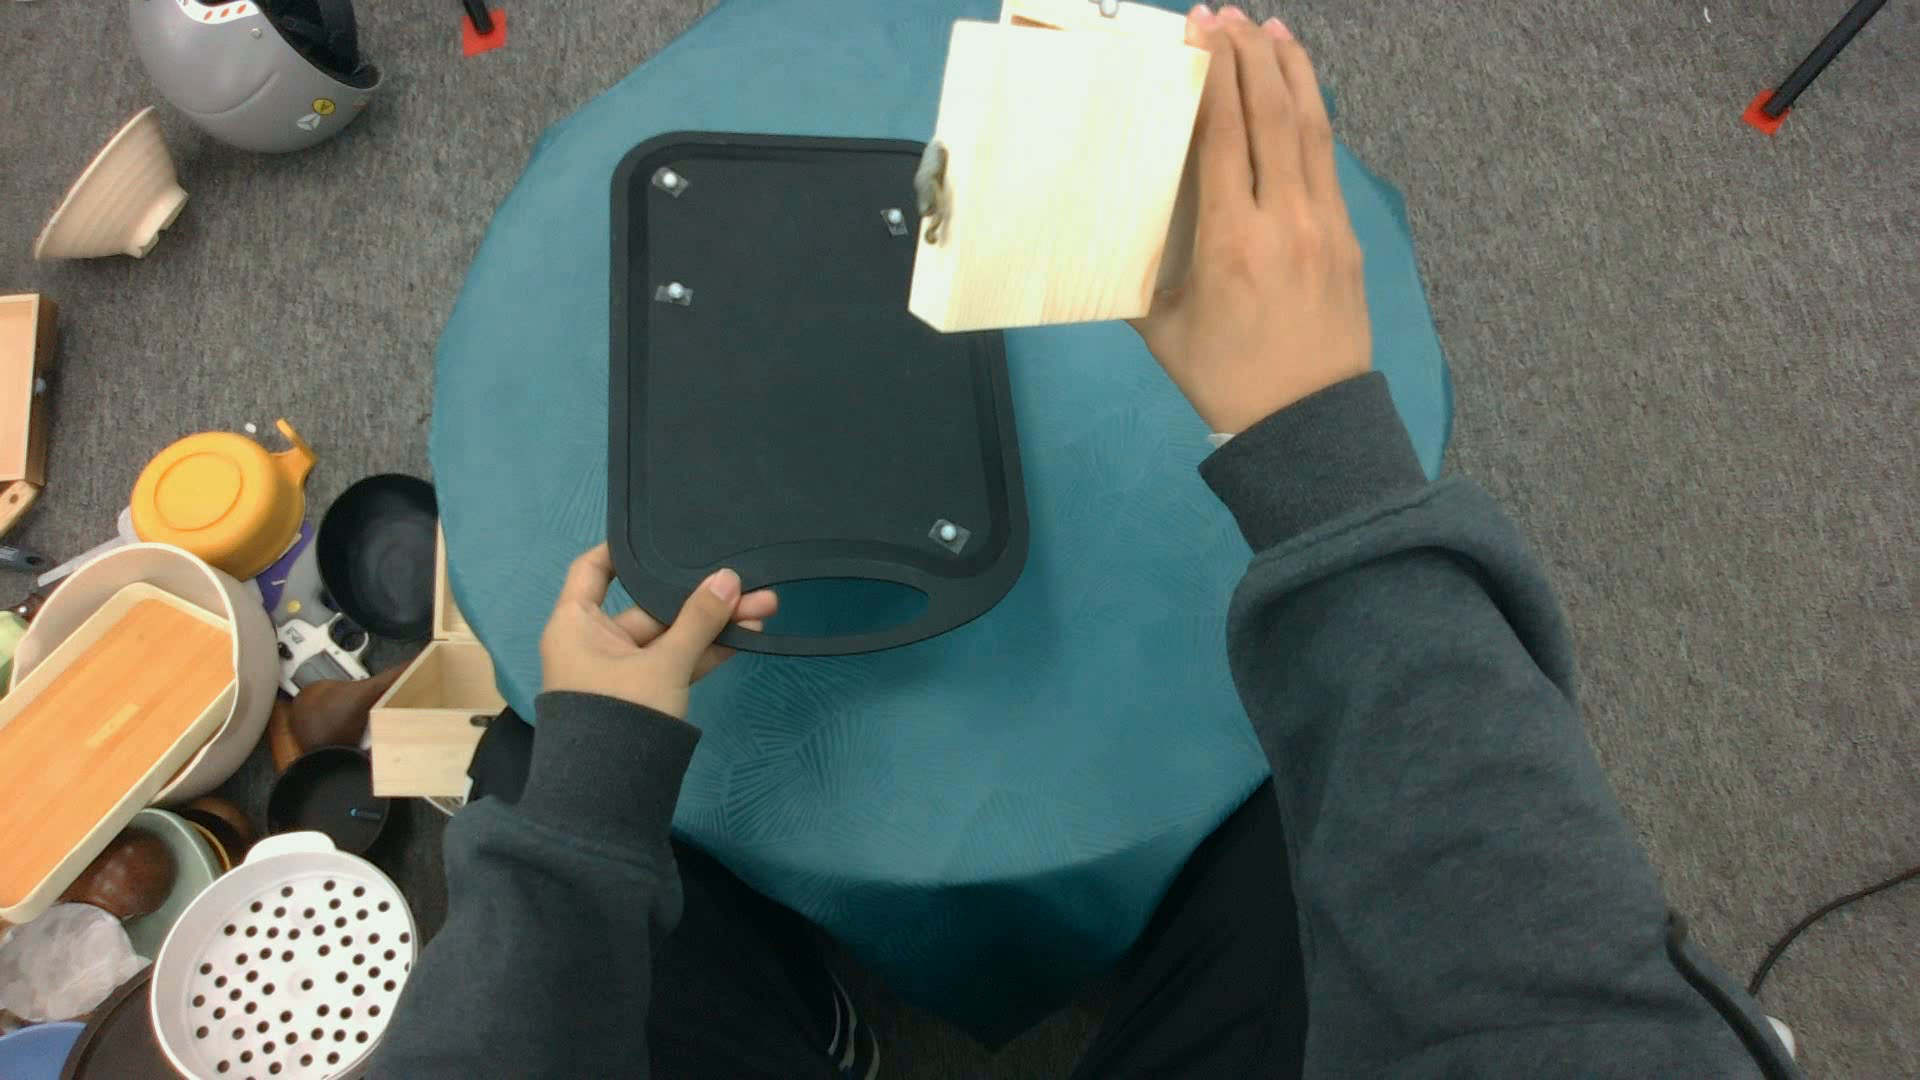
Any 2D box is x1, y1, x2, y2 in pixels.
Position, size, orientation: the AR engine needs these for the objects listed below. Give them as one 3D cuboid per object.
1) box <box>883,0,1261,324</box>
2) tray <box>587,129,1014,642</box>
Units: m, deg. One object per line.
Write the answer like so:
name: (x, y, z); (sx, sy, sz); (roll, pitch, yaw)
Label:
box: (0.024, -0.167, 0.568); (0.185, 0.102, 0.134); (-14, 35, -36)
tray: (-0.085, -0.096, 0.724); (0.211, 0.010, 0.326); (-1, 61, -10)
